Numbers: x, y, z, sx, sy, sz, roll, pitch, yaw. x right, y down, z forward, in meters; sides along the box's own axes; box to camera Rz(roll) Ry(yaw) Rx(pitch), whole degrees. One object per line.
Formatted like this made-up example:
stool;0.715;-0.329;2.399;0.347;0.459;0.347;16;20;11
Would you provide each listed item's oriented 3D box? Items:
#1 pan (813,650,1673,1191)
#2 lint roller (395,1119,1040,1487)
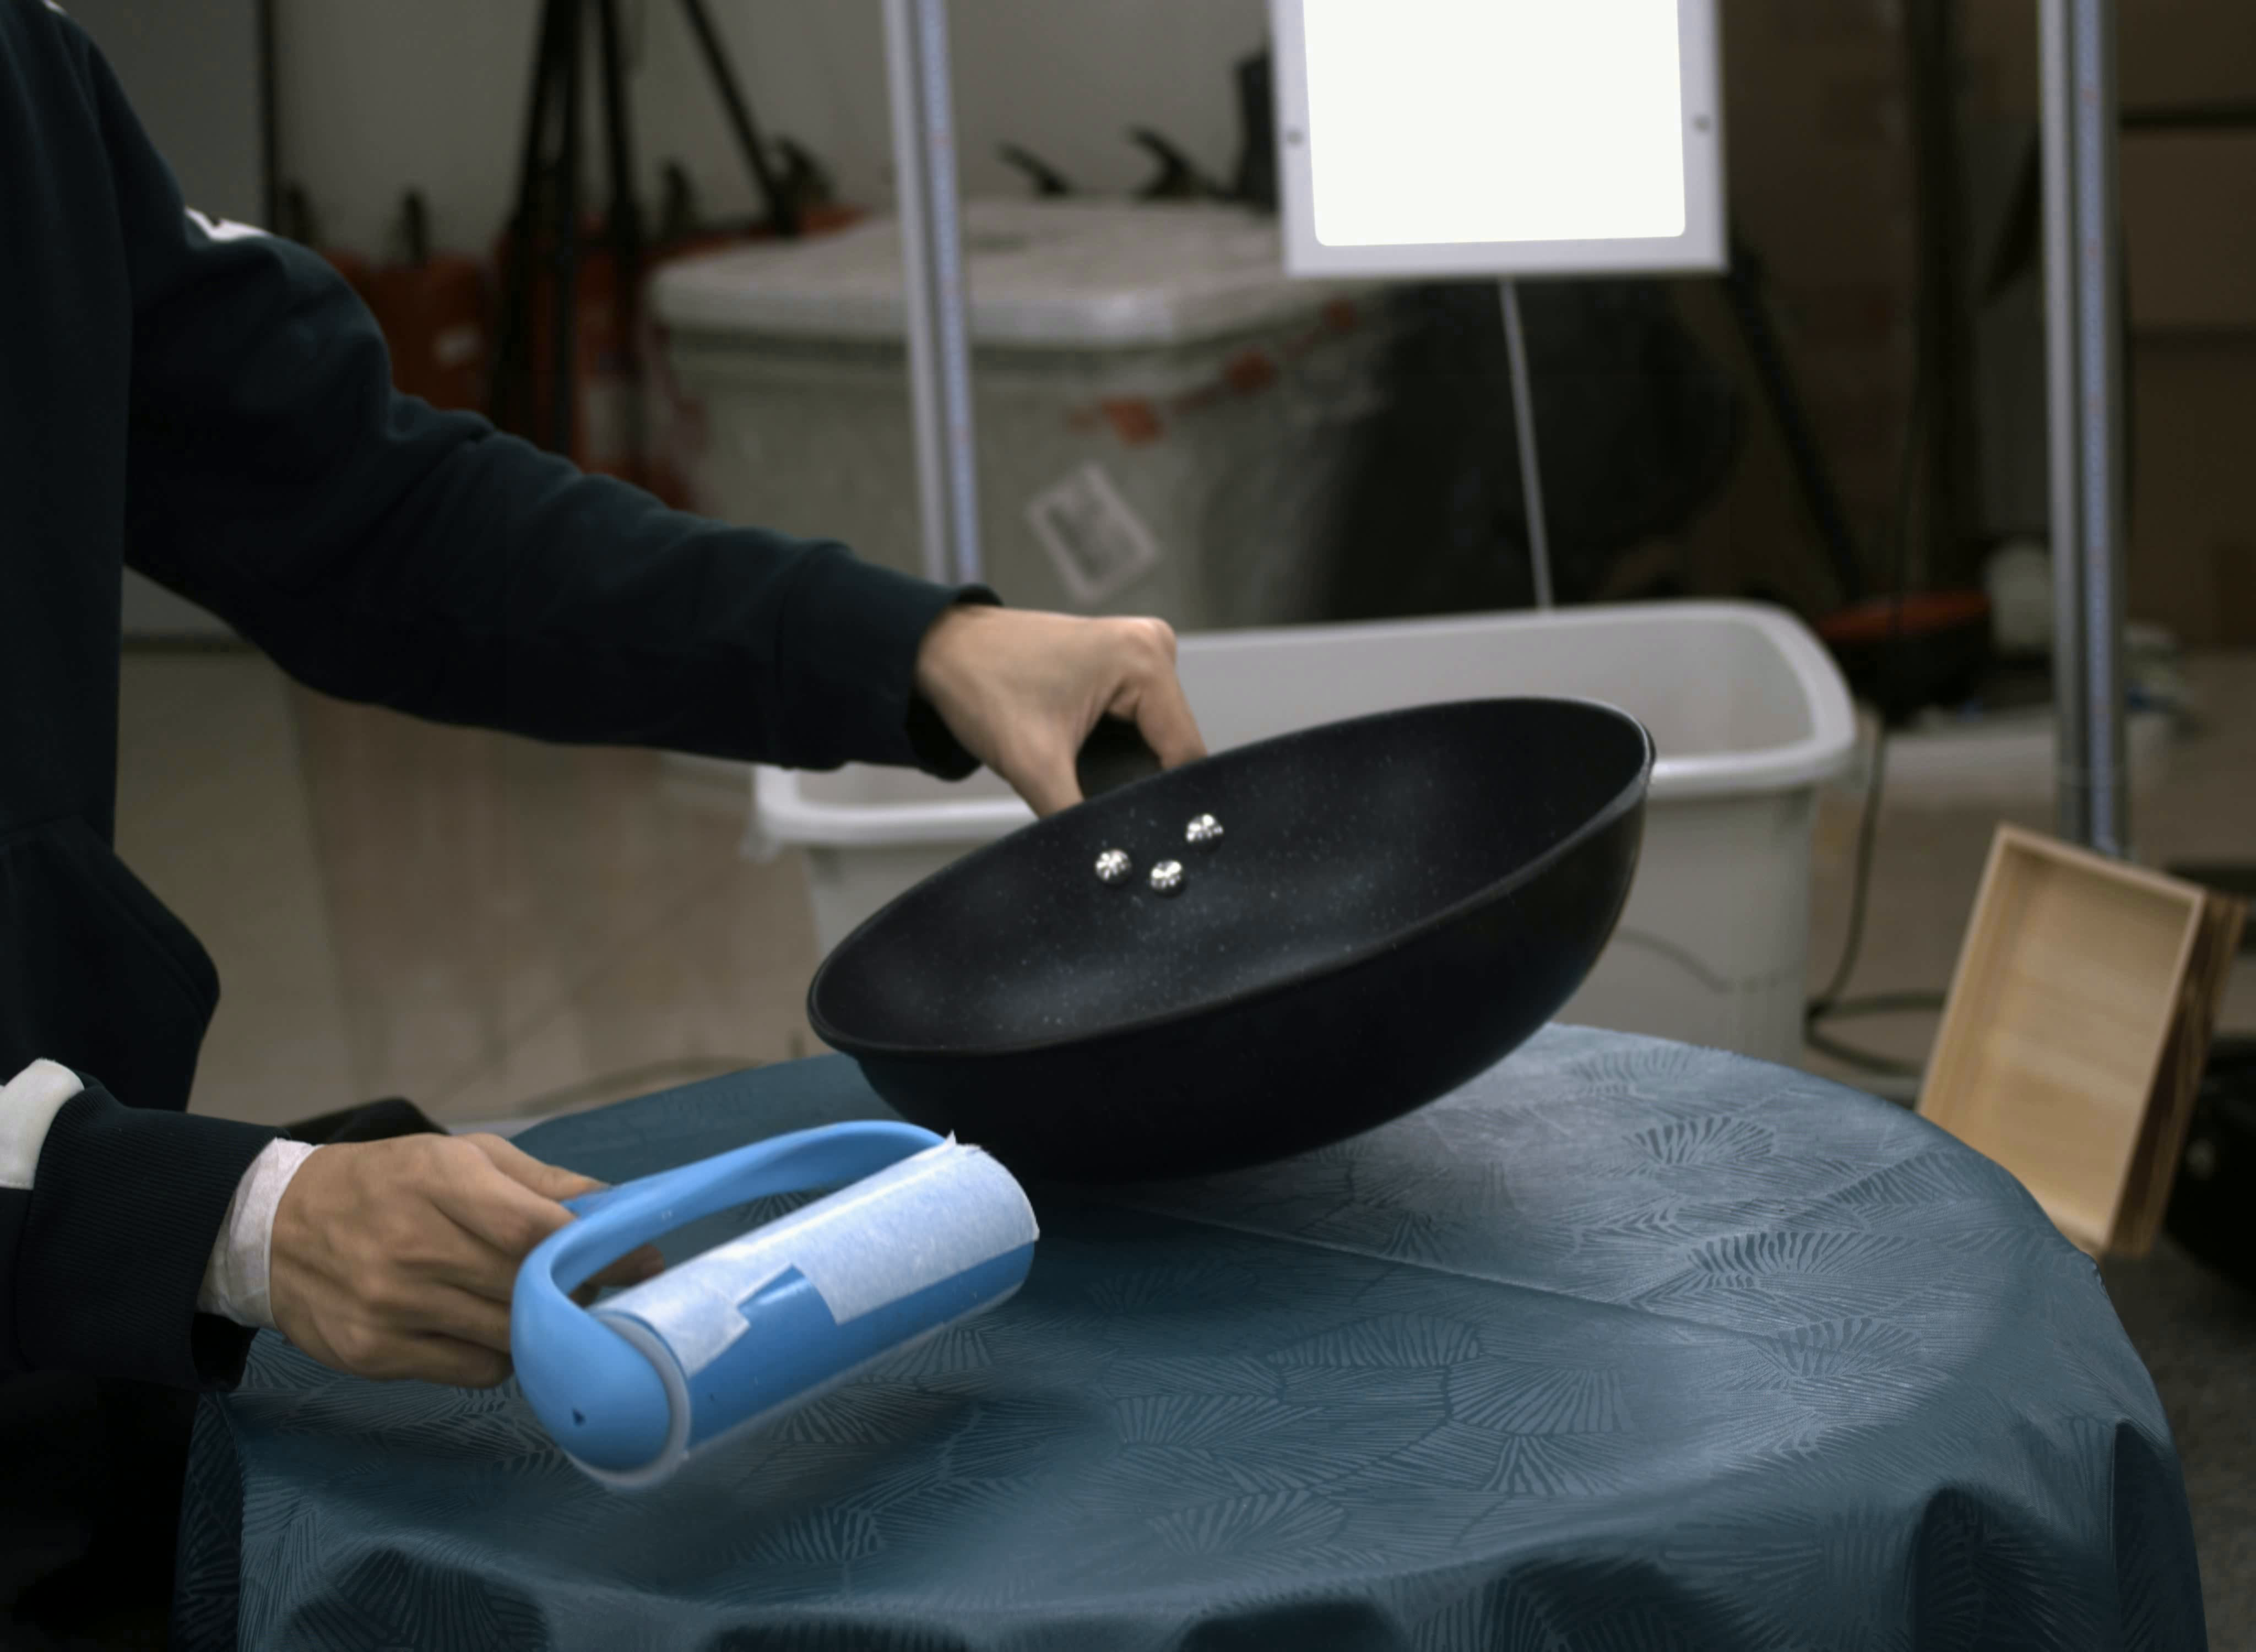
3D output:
pan;0.028;0.027;1.985;0.308;0.112;0.480;-20;14;-8
lint roller;-0.148;0.140;1.660;0.183;0.068;0.224;0;13;27
